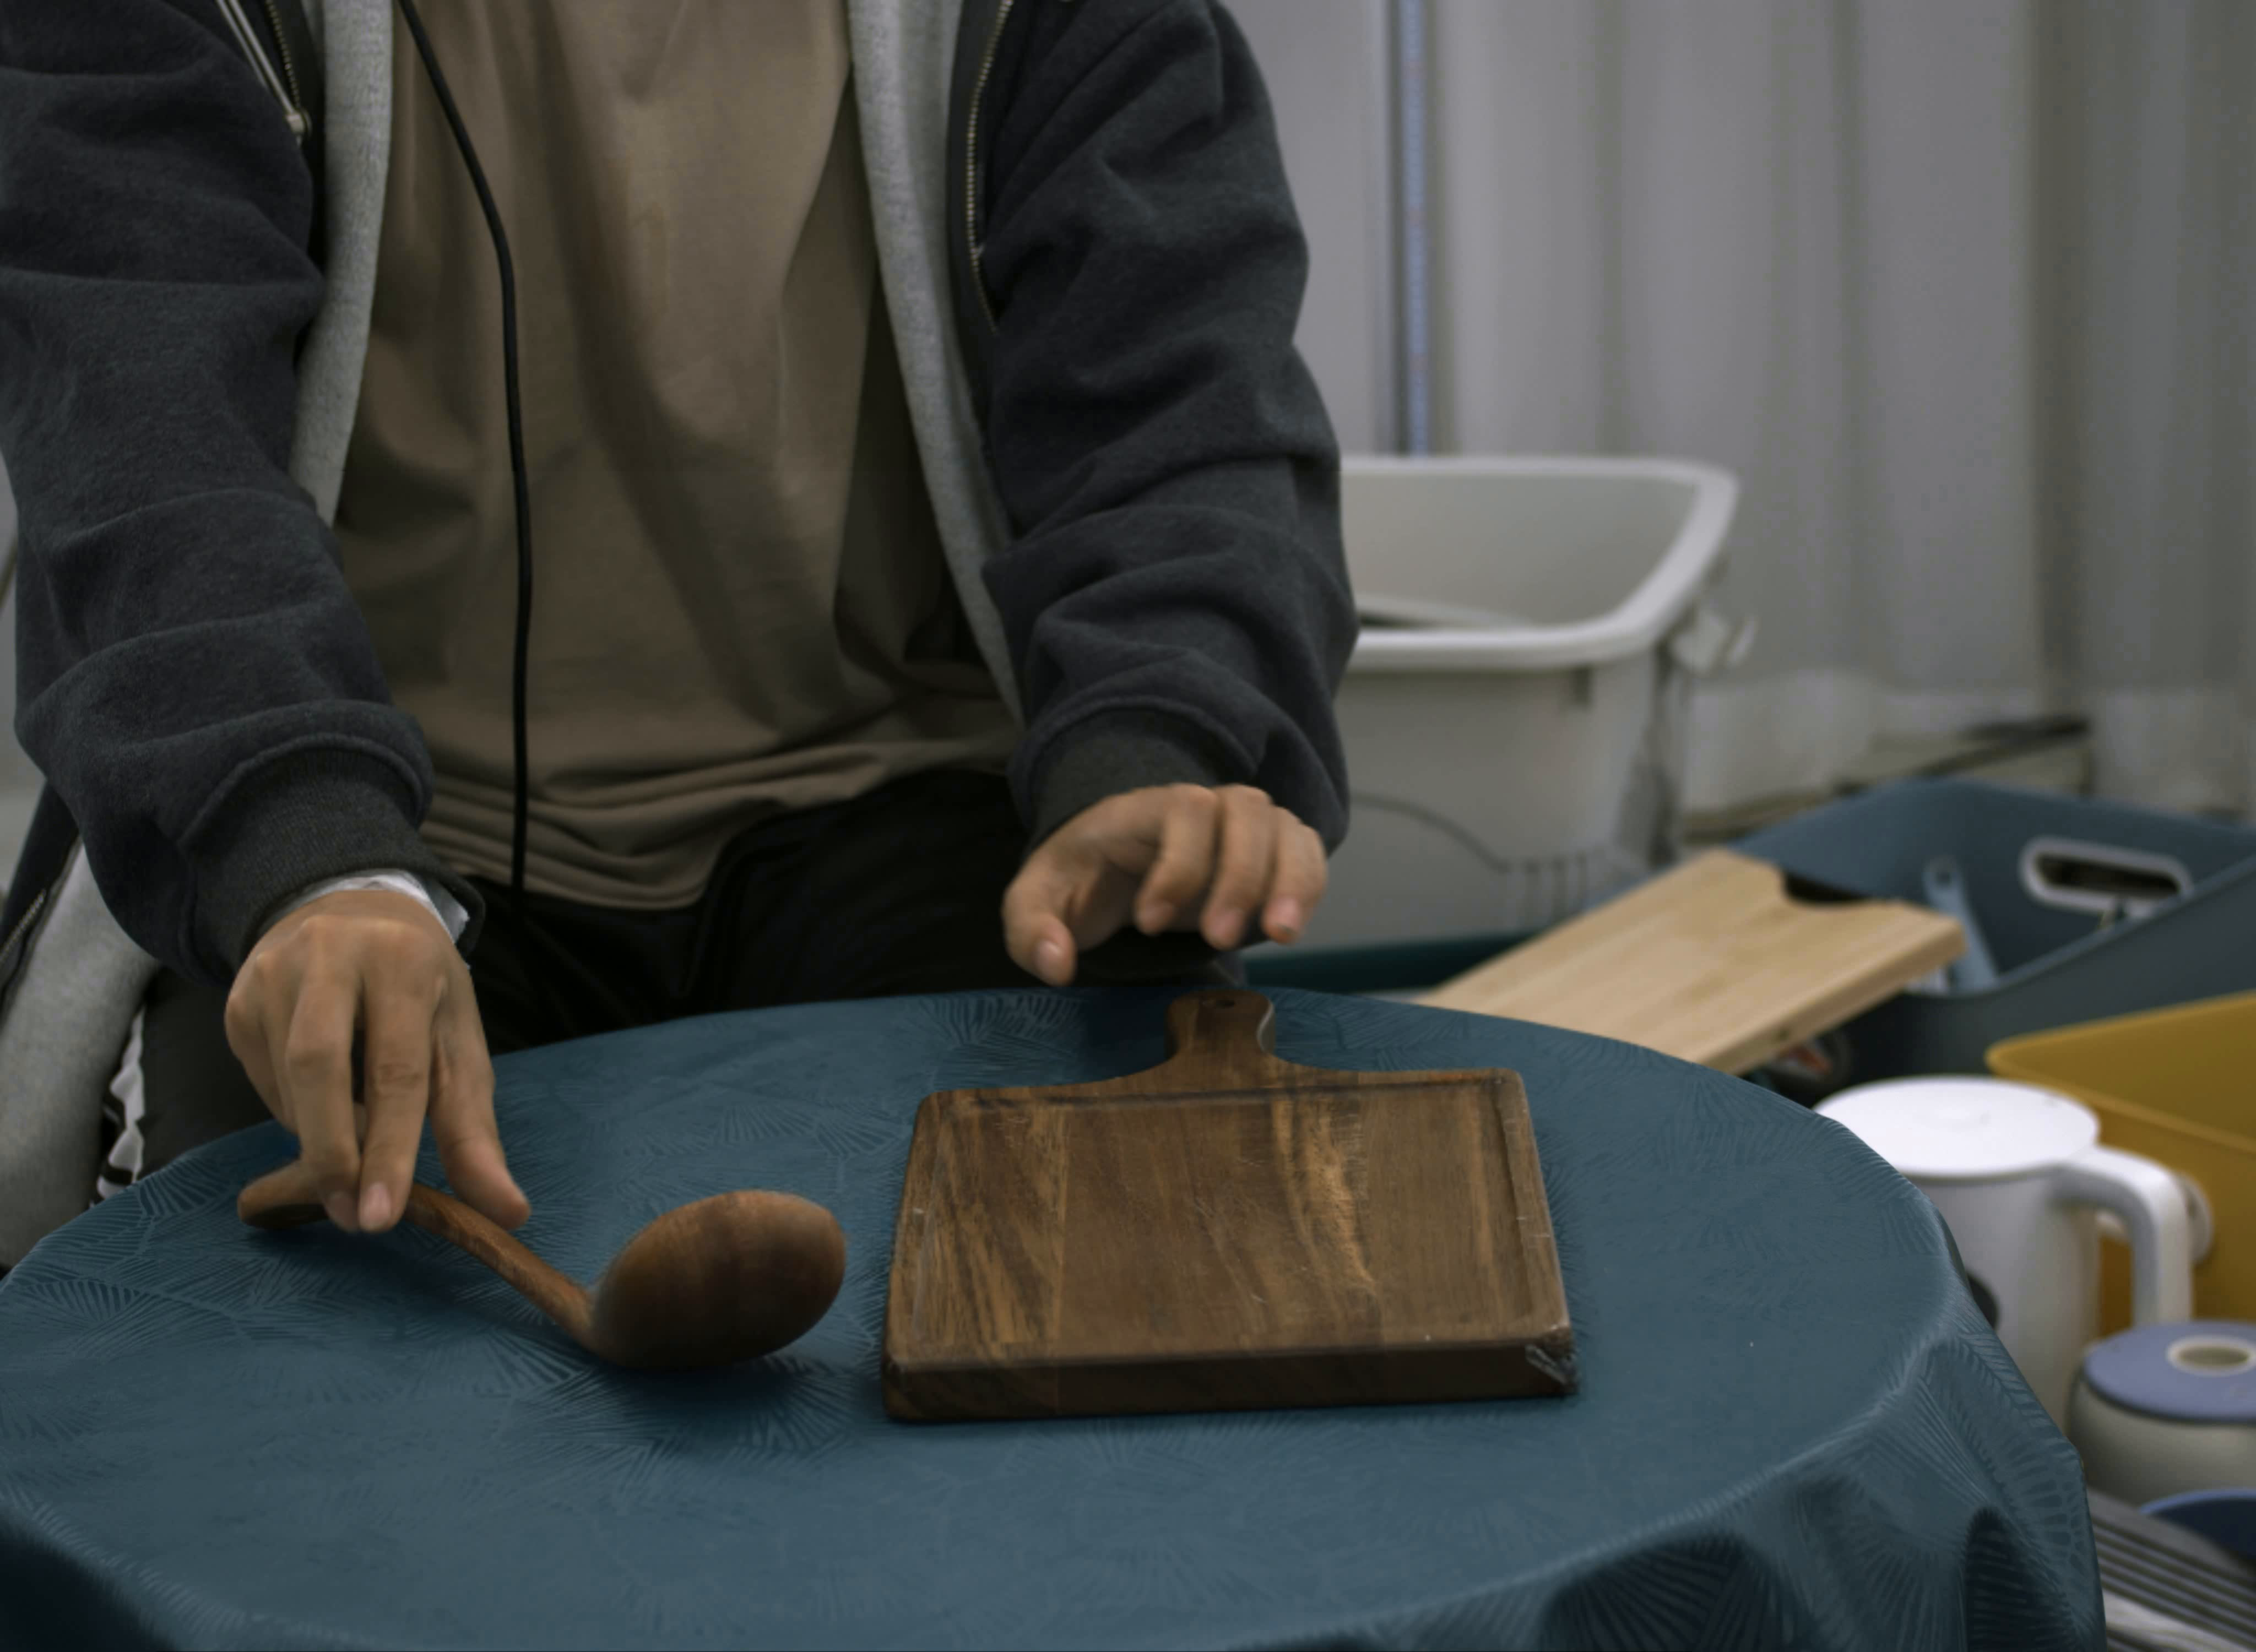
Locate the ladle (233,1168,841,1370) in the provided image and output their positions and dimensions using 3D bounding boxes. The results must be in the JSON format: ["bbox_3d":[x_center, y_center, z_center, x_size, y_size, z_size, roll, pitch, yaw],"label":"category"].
[{"bbox_3d":[-0.183,0.115,1.630,0.075,0.065,0.262,22,-6,-42],"label":"ladle"}]

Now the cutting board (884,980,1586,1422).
[{"bbox_3d":[0.029,0.109,1.689,0.200,0.023,0.354,-2,15,1],"label":"cutting board"}]
